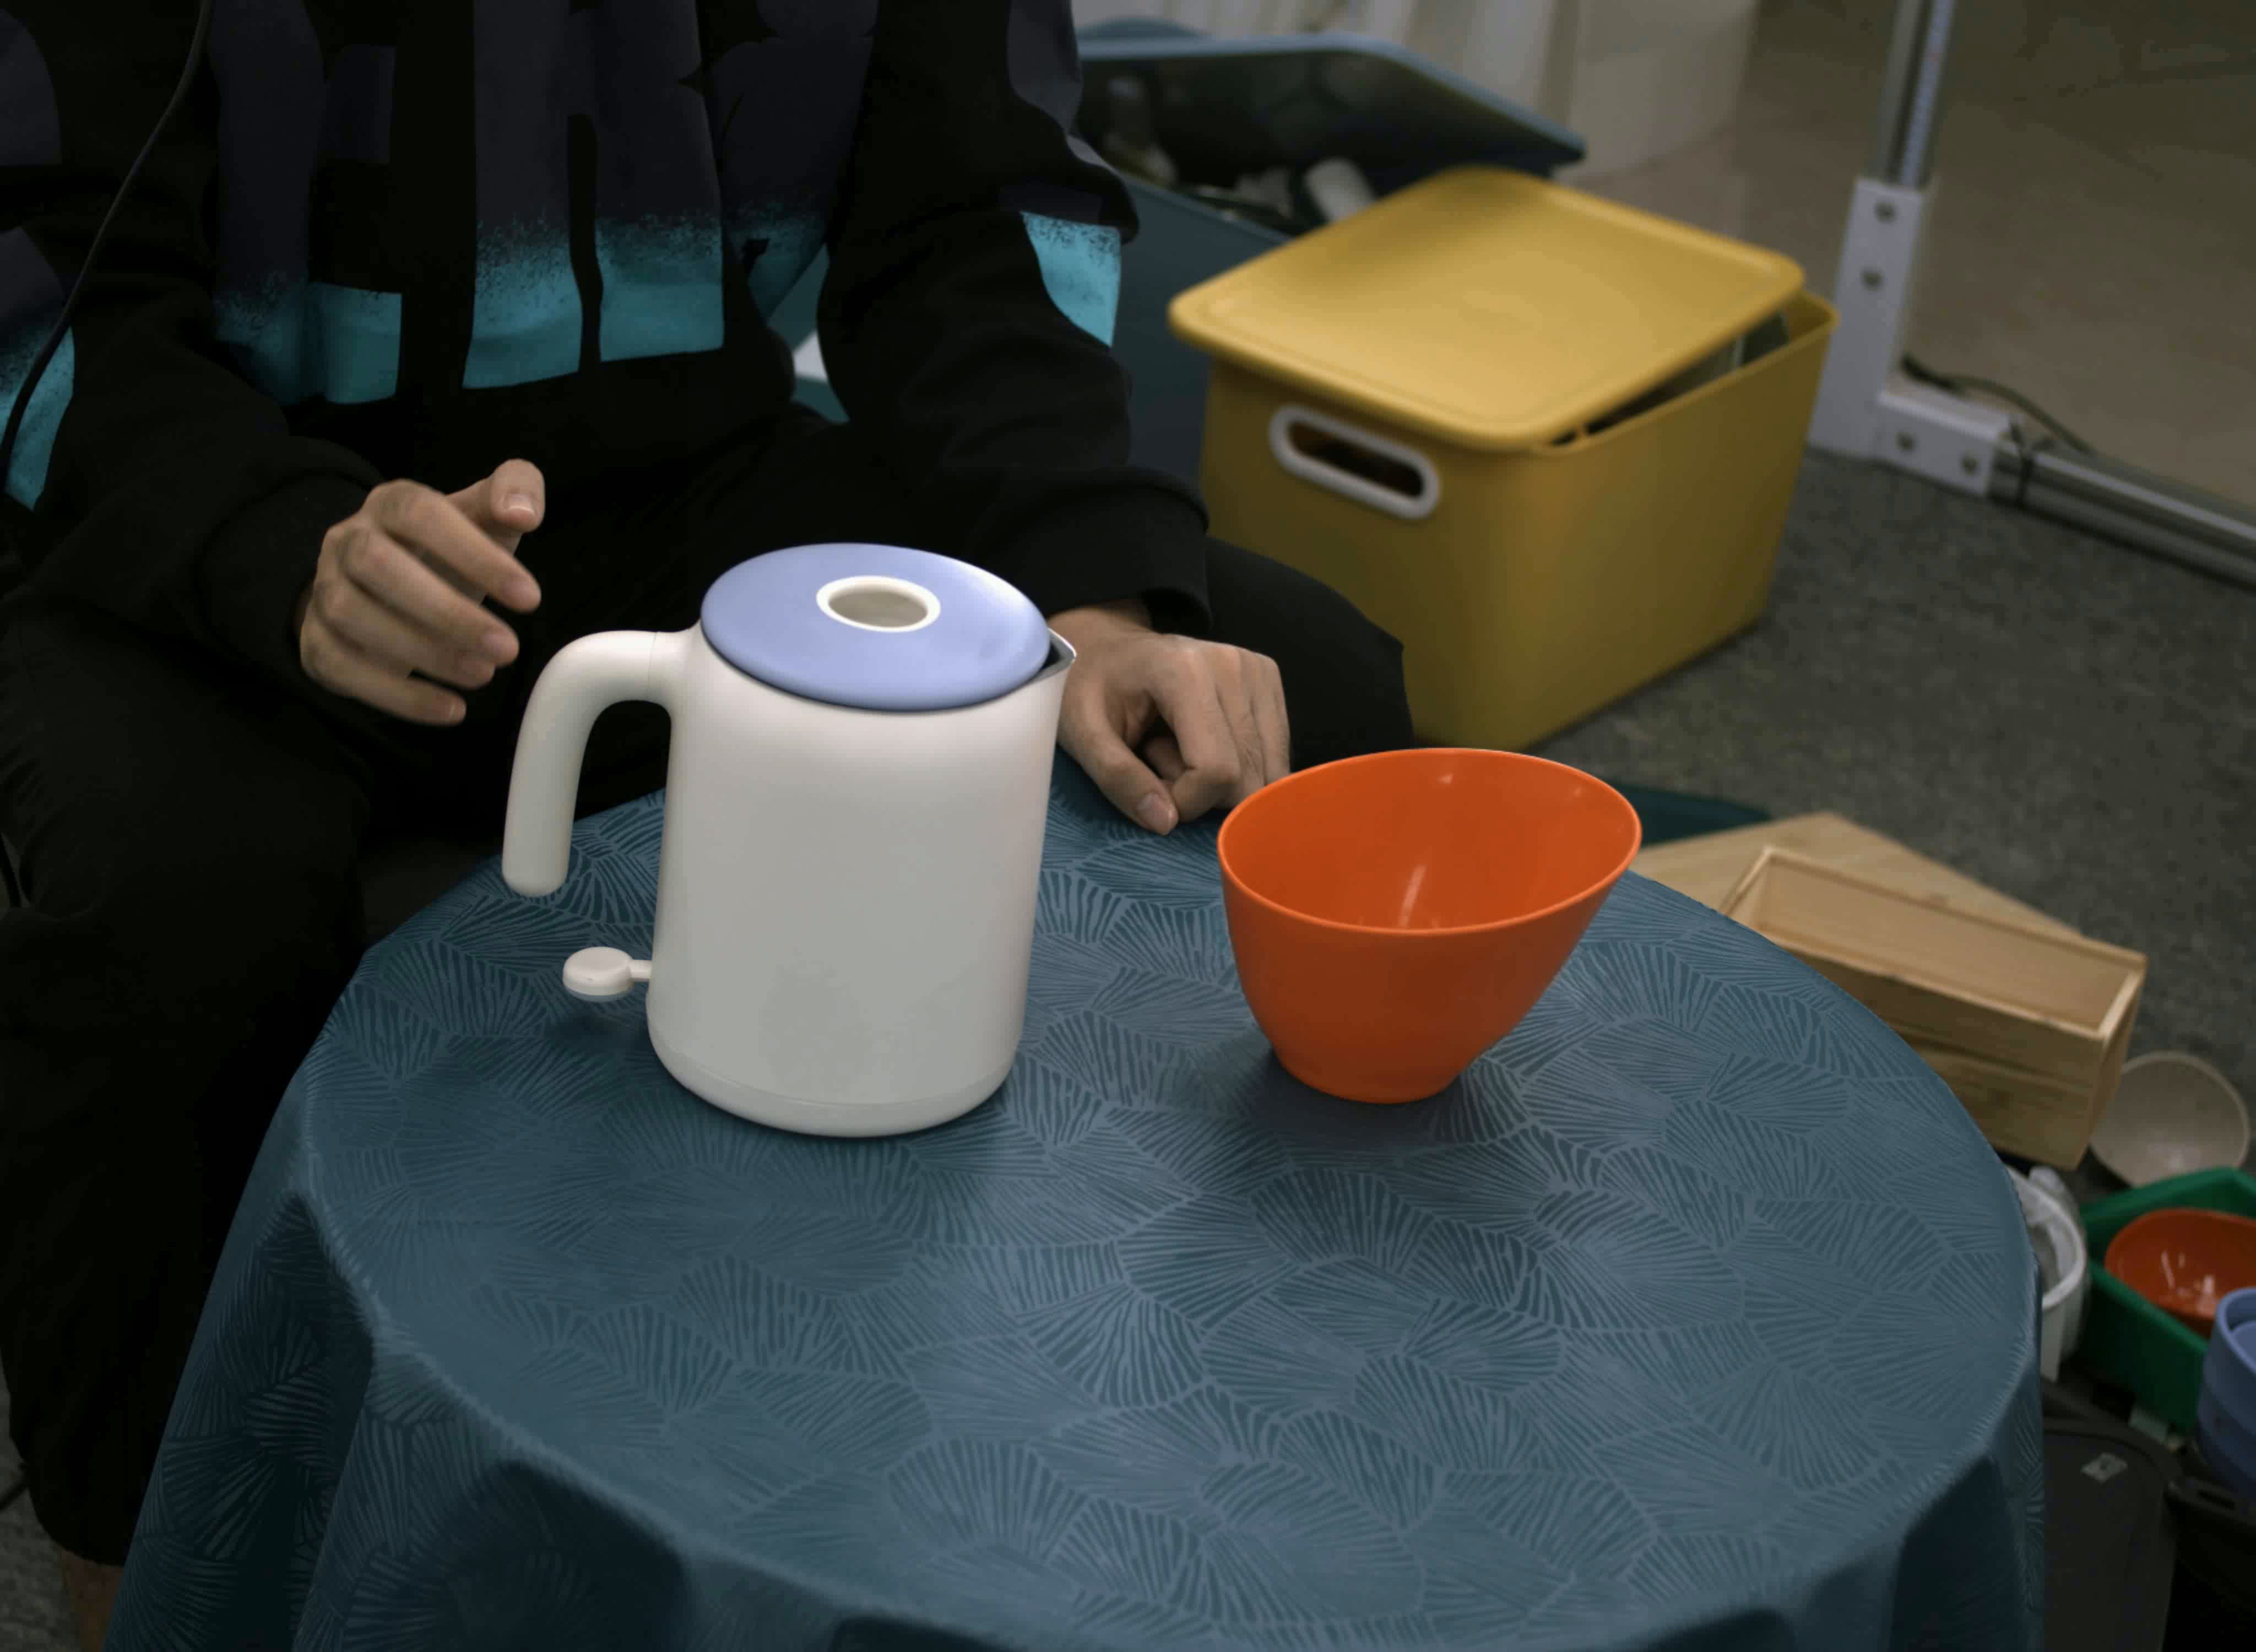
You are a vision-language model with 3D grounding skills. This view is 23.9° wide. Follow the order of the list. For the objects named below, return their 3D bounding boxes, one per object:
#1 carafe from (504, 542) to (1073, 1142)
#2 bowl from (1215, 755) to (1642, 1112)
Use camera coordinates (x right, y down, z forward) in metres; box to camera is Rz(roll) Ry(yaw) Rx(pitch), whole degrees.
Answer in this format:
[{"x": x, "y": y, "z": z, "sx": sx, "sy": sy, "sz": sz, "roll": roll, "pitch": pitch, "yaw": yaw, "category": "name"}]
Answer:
[{"x": -0.118, "y": 0.003, "z": 1.822, "sx": 0.190, "sy": 0.182, "sz": 0.133, "roll": 3, "pitch": 25, "yaw": -1, "category": "carafe"}, {"x": 0.100, "y": 0.042, "z": 1.871, "sx": 0.147, "sy": 0.104, "sz": 0.149, "roll": 5, "pitch": 27, "yaw": -3, "category": "bowl"}]
